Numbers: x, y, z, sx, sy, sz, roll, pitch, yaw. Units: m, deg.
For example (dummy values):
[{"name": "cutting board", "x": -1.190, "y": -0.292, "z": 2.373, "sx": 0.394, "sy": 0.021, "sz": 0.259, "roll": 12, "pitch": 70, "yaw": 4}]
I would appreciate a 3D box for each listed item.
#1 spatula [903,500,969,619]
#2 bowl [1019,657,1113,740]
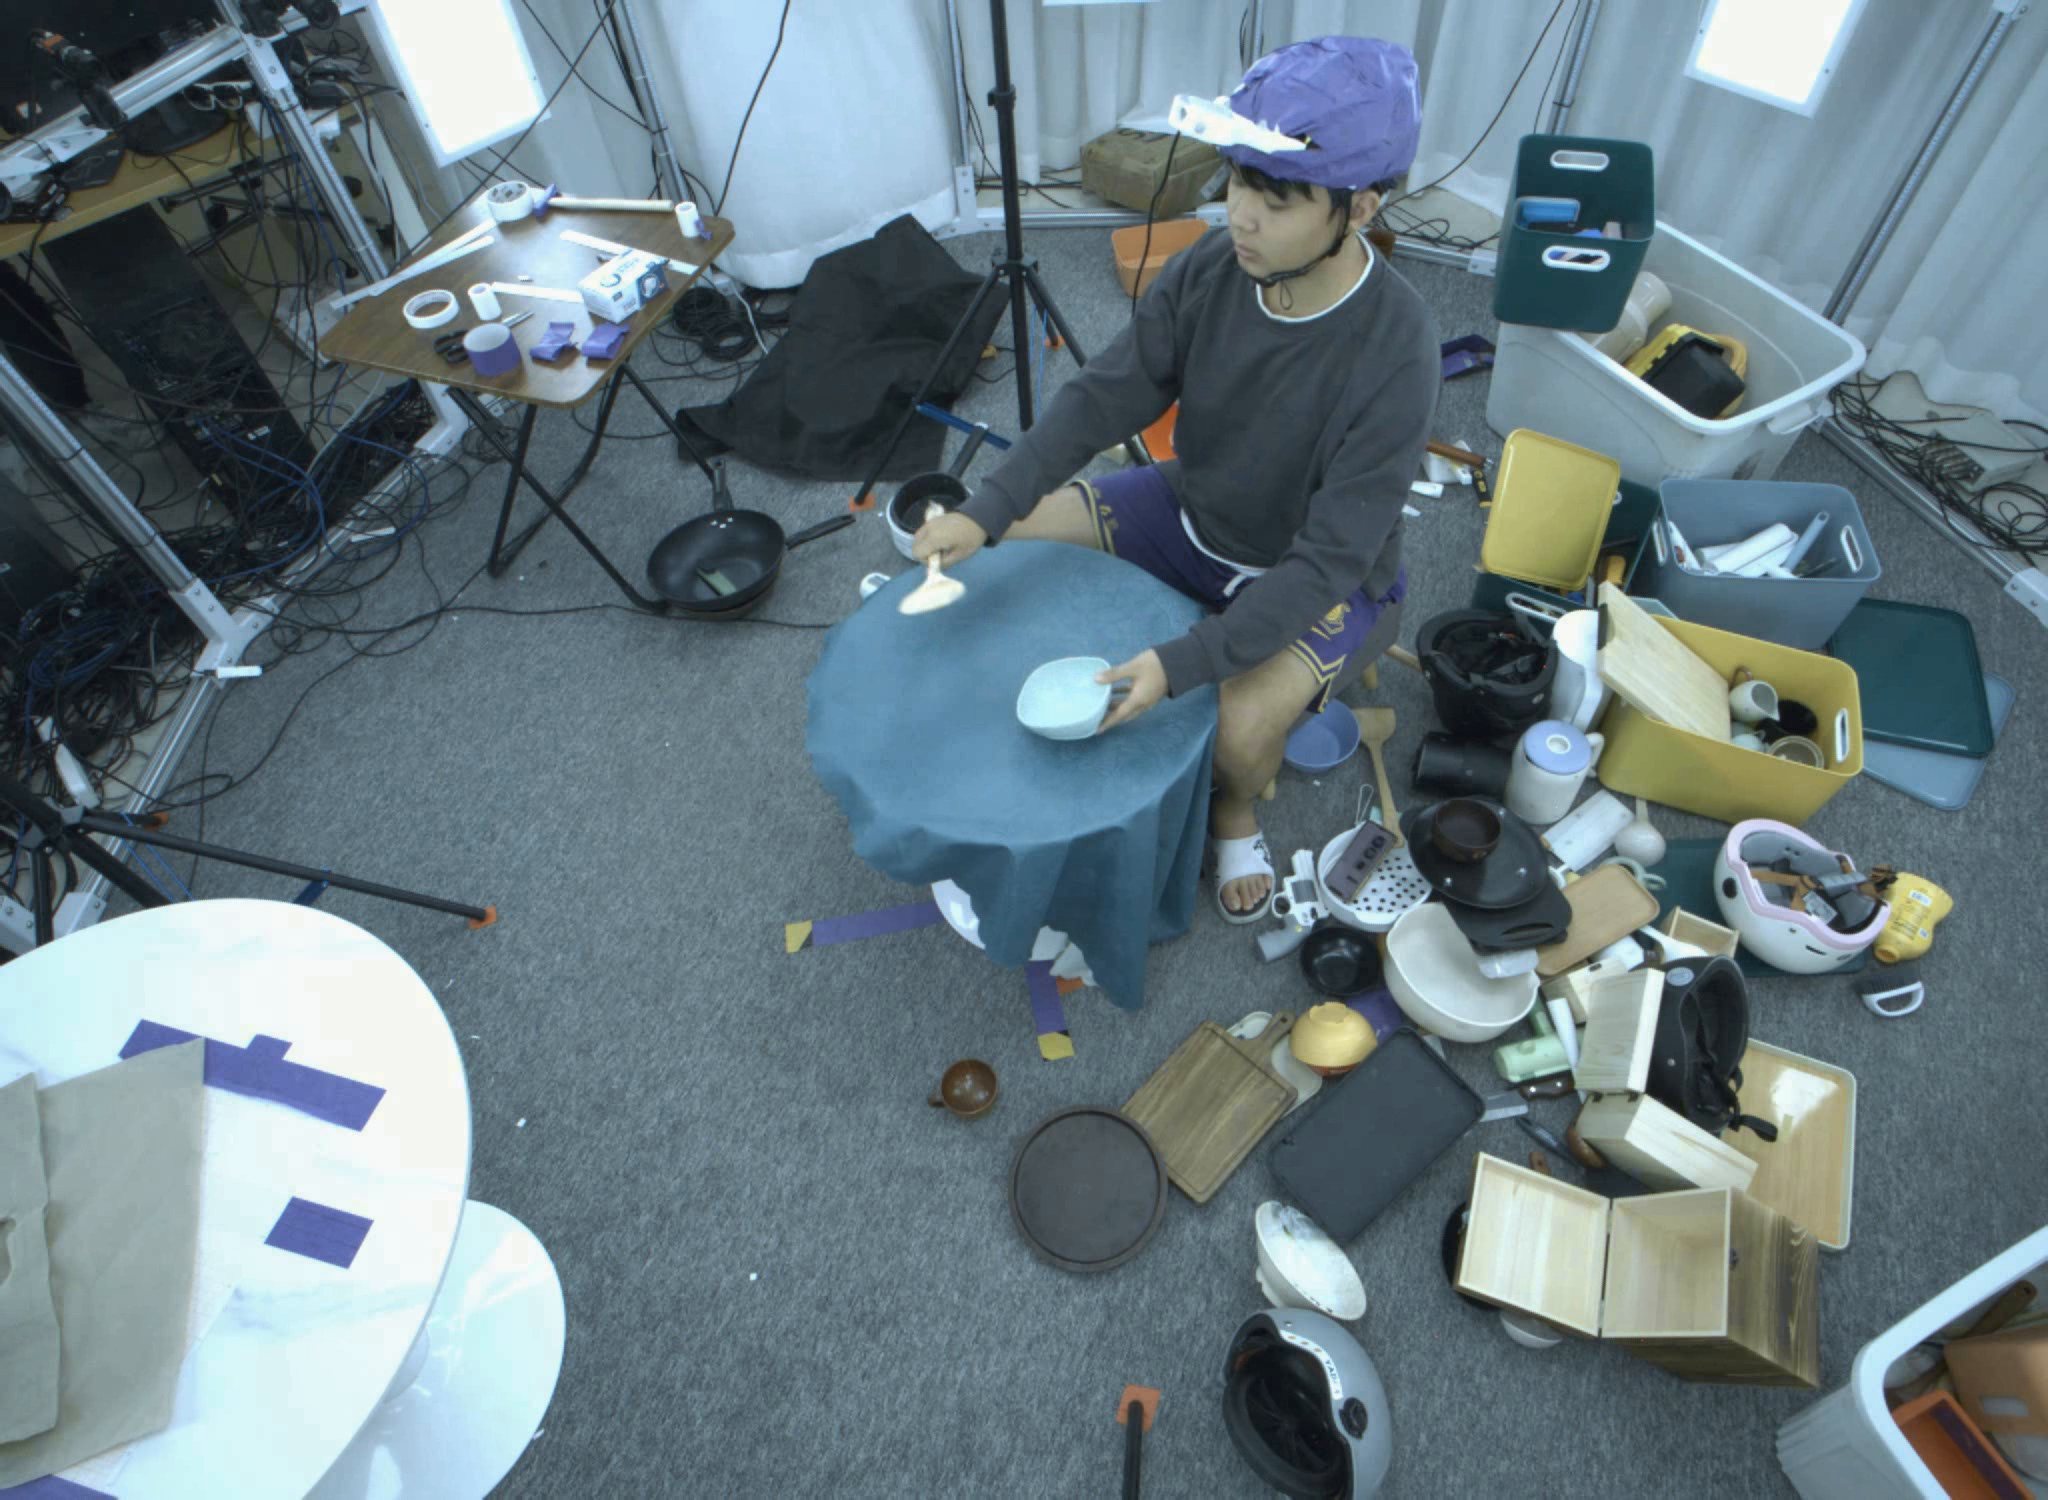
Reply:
[{"name": "spatula", "x": -0.140, "y": -0.294, "z": 1.834, "sx": 0.095, "sy": 0.019, "sz": 0.385, "roll": -15, "pitch": 37, "yaw": 3}, {"name": "bowl", "x": 0.068, "y": -0.065, "z": 1.769, "sx": 0.150, "sy": 0.060, "sz": 0.150, "roll": -13, "pitch": 44, "yaw": 15}]
